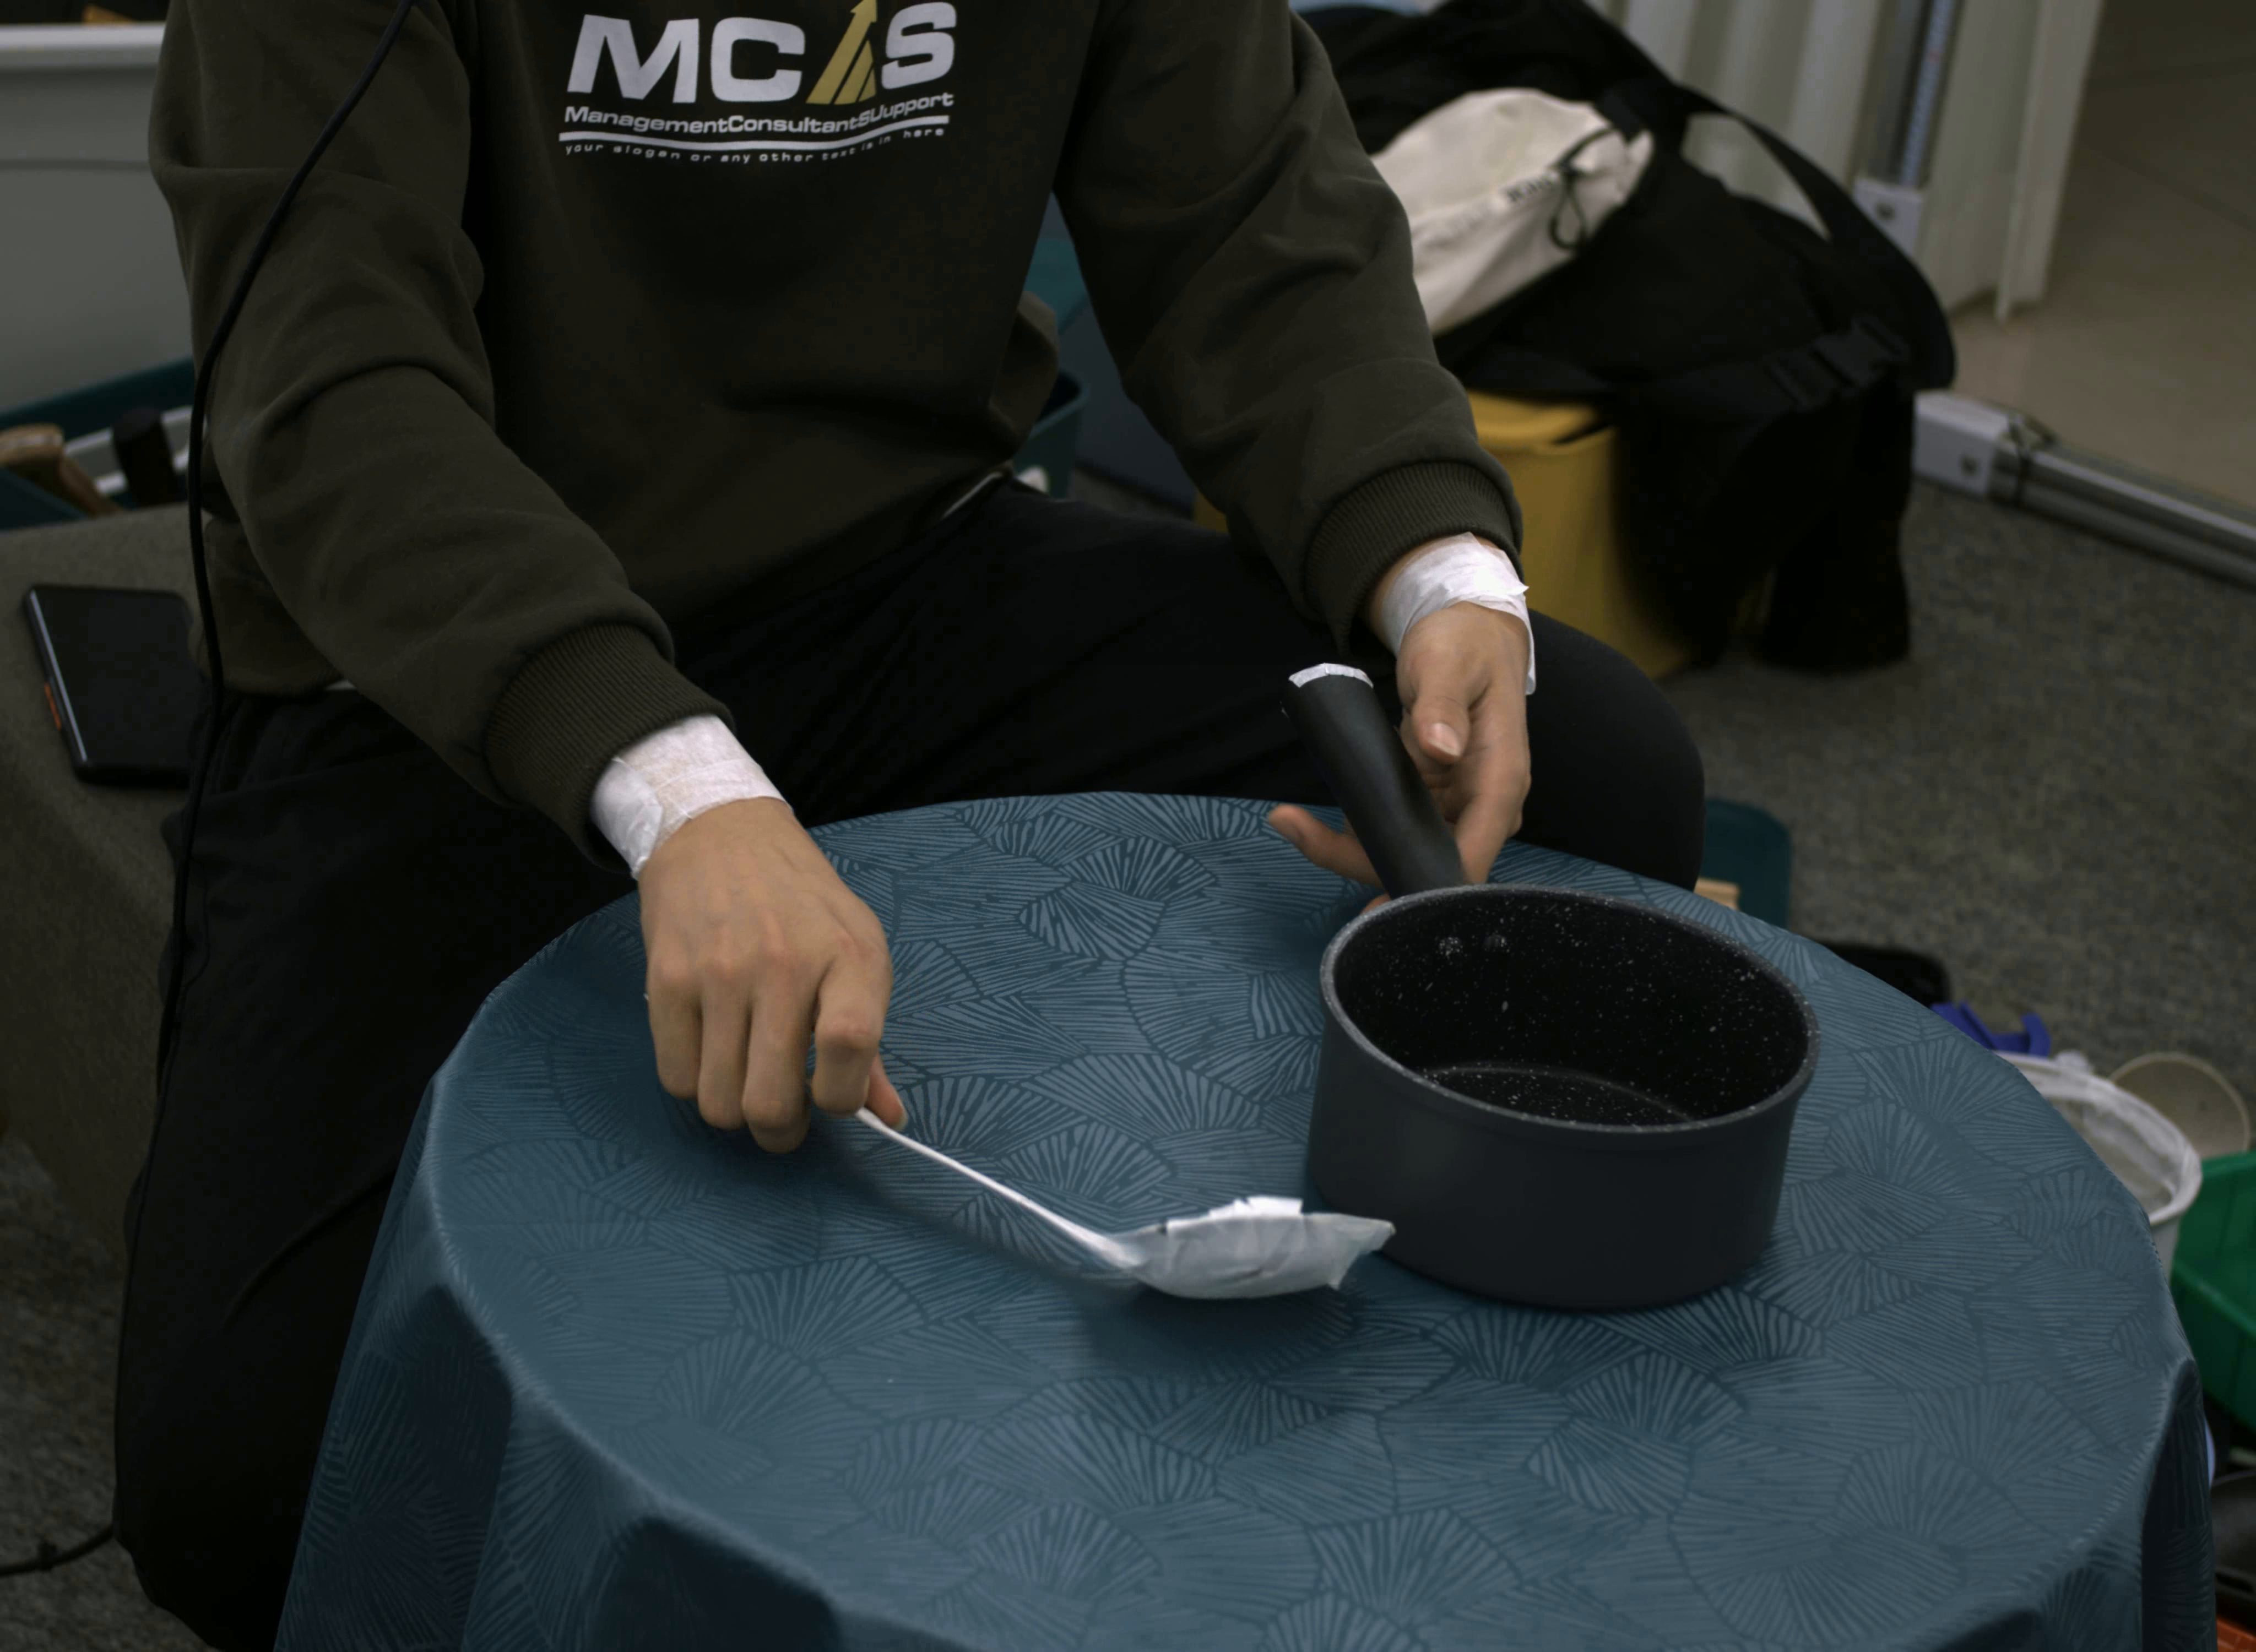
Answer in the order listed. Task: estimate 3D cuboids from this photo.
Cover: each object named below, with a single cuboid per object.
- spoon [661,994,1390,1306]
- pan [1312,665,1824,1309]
[{"bbox_3d":[-0.038,0.096,1.773,0.279,0.059,0.100,28,0,29],"label":"spoon"},{"bbox_3d":[0.125,0.053,1.882,0.171,0.086,0.331,-1,28,-17],"label":"pan"}]
